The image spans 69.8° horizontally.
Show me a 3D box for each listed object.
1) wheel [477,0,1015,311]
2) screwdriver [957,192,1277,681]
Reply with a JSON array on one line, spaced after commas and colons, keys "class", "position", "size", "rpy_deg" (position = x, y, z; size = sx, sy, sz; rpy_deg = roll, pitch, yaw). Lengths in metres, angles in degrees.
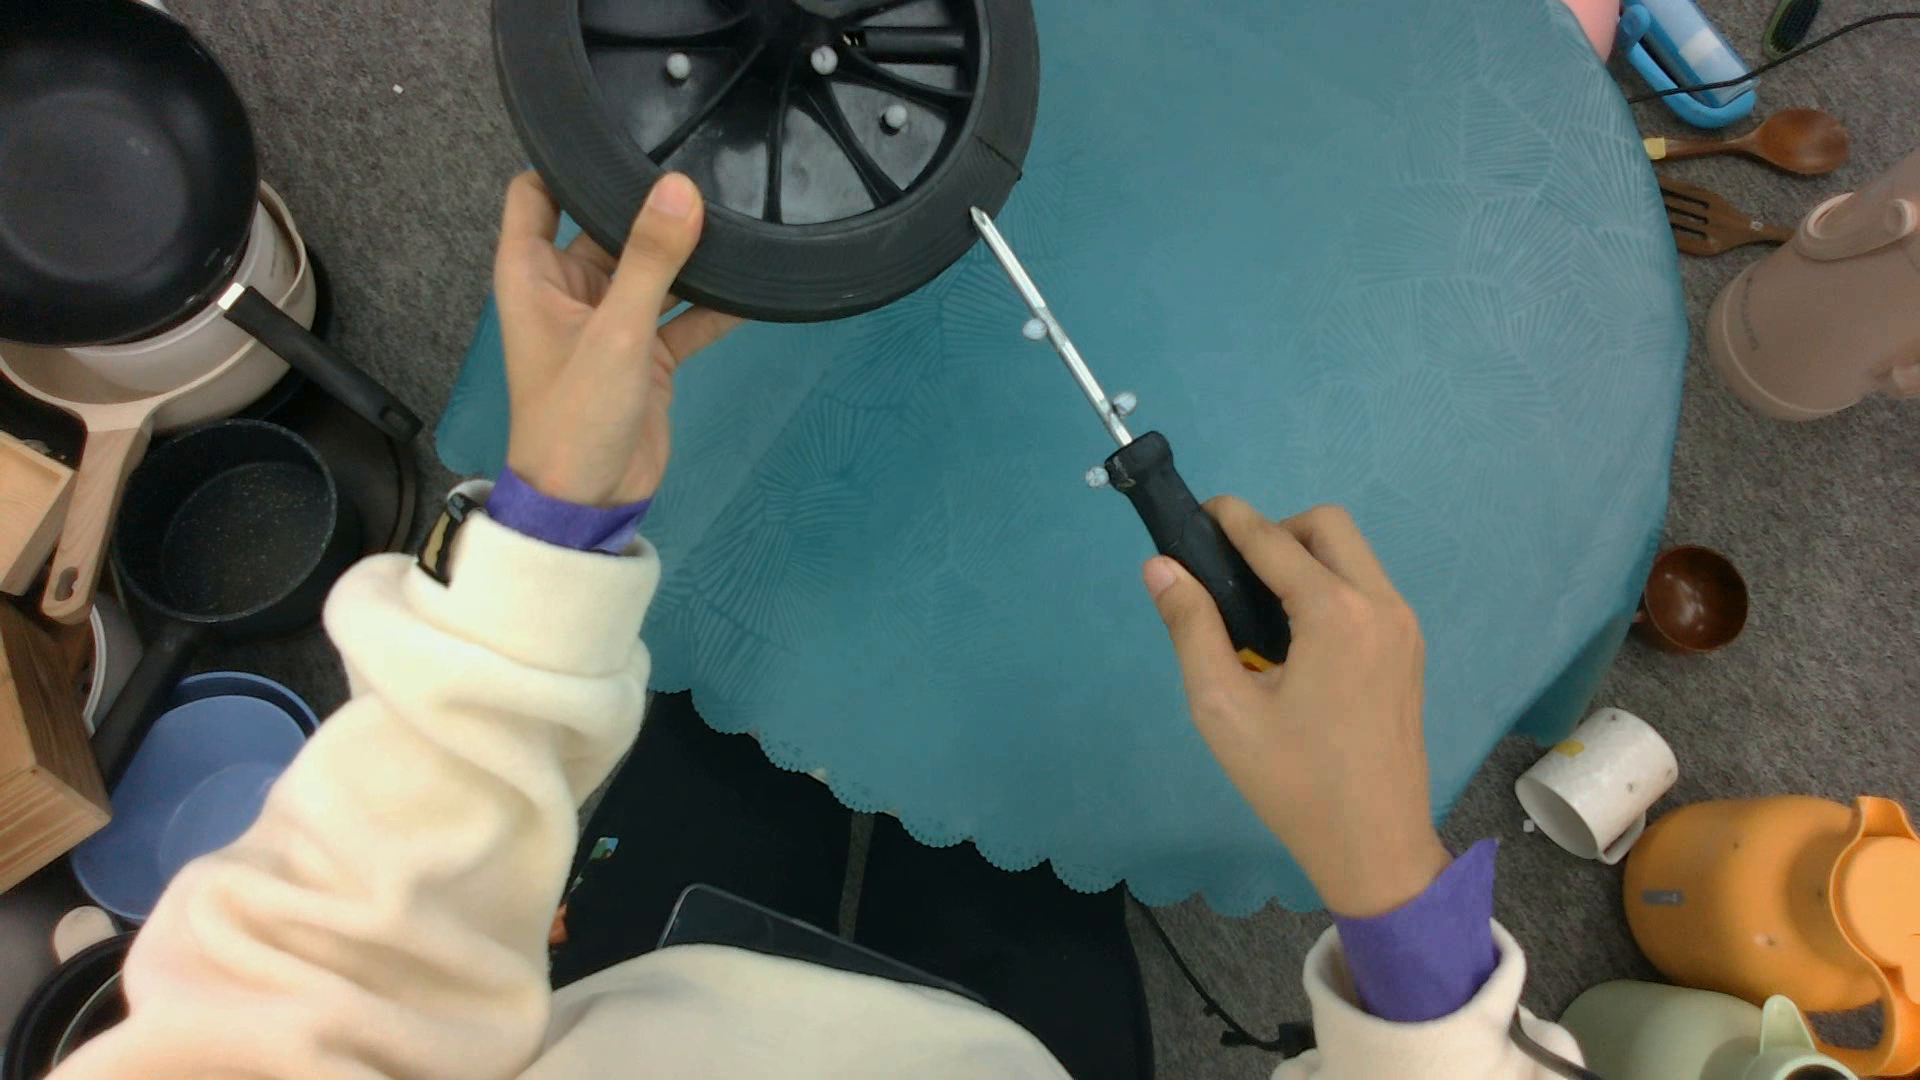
[{"class": "wheel", "position": [-0.060, -0.176, 0.461], "size": [0.190, 0.079, 0.187], "rpy_deg": [-33, 99, -22]}, {"class": "screwdriver", "position": [0.049, -0.038, 0.473], "size": [0.031, 0.031, 0.196], "rpy_deg": [-32, 88, -11]}]
